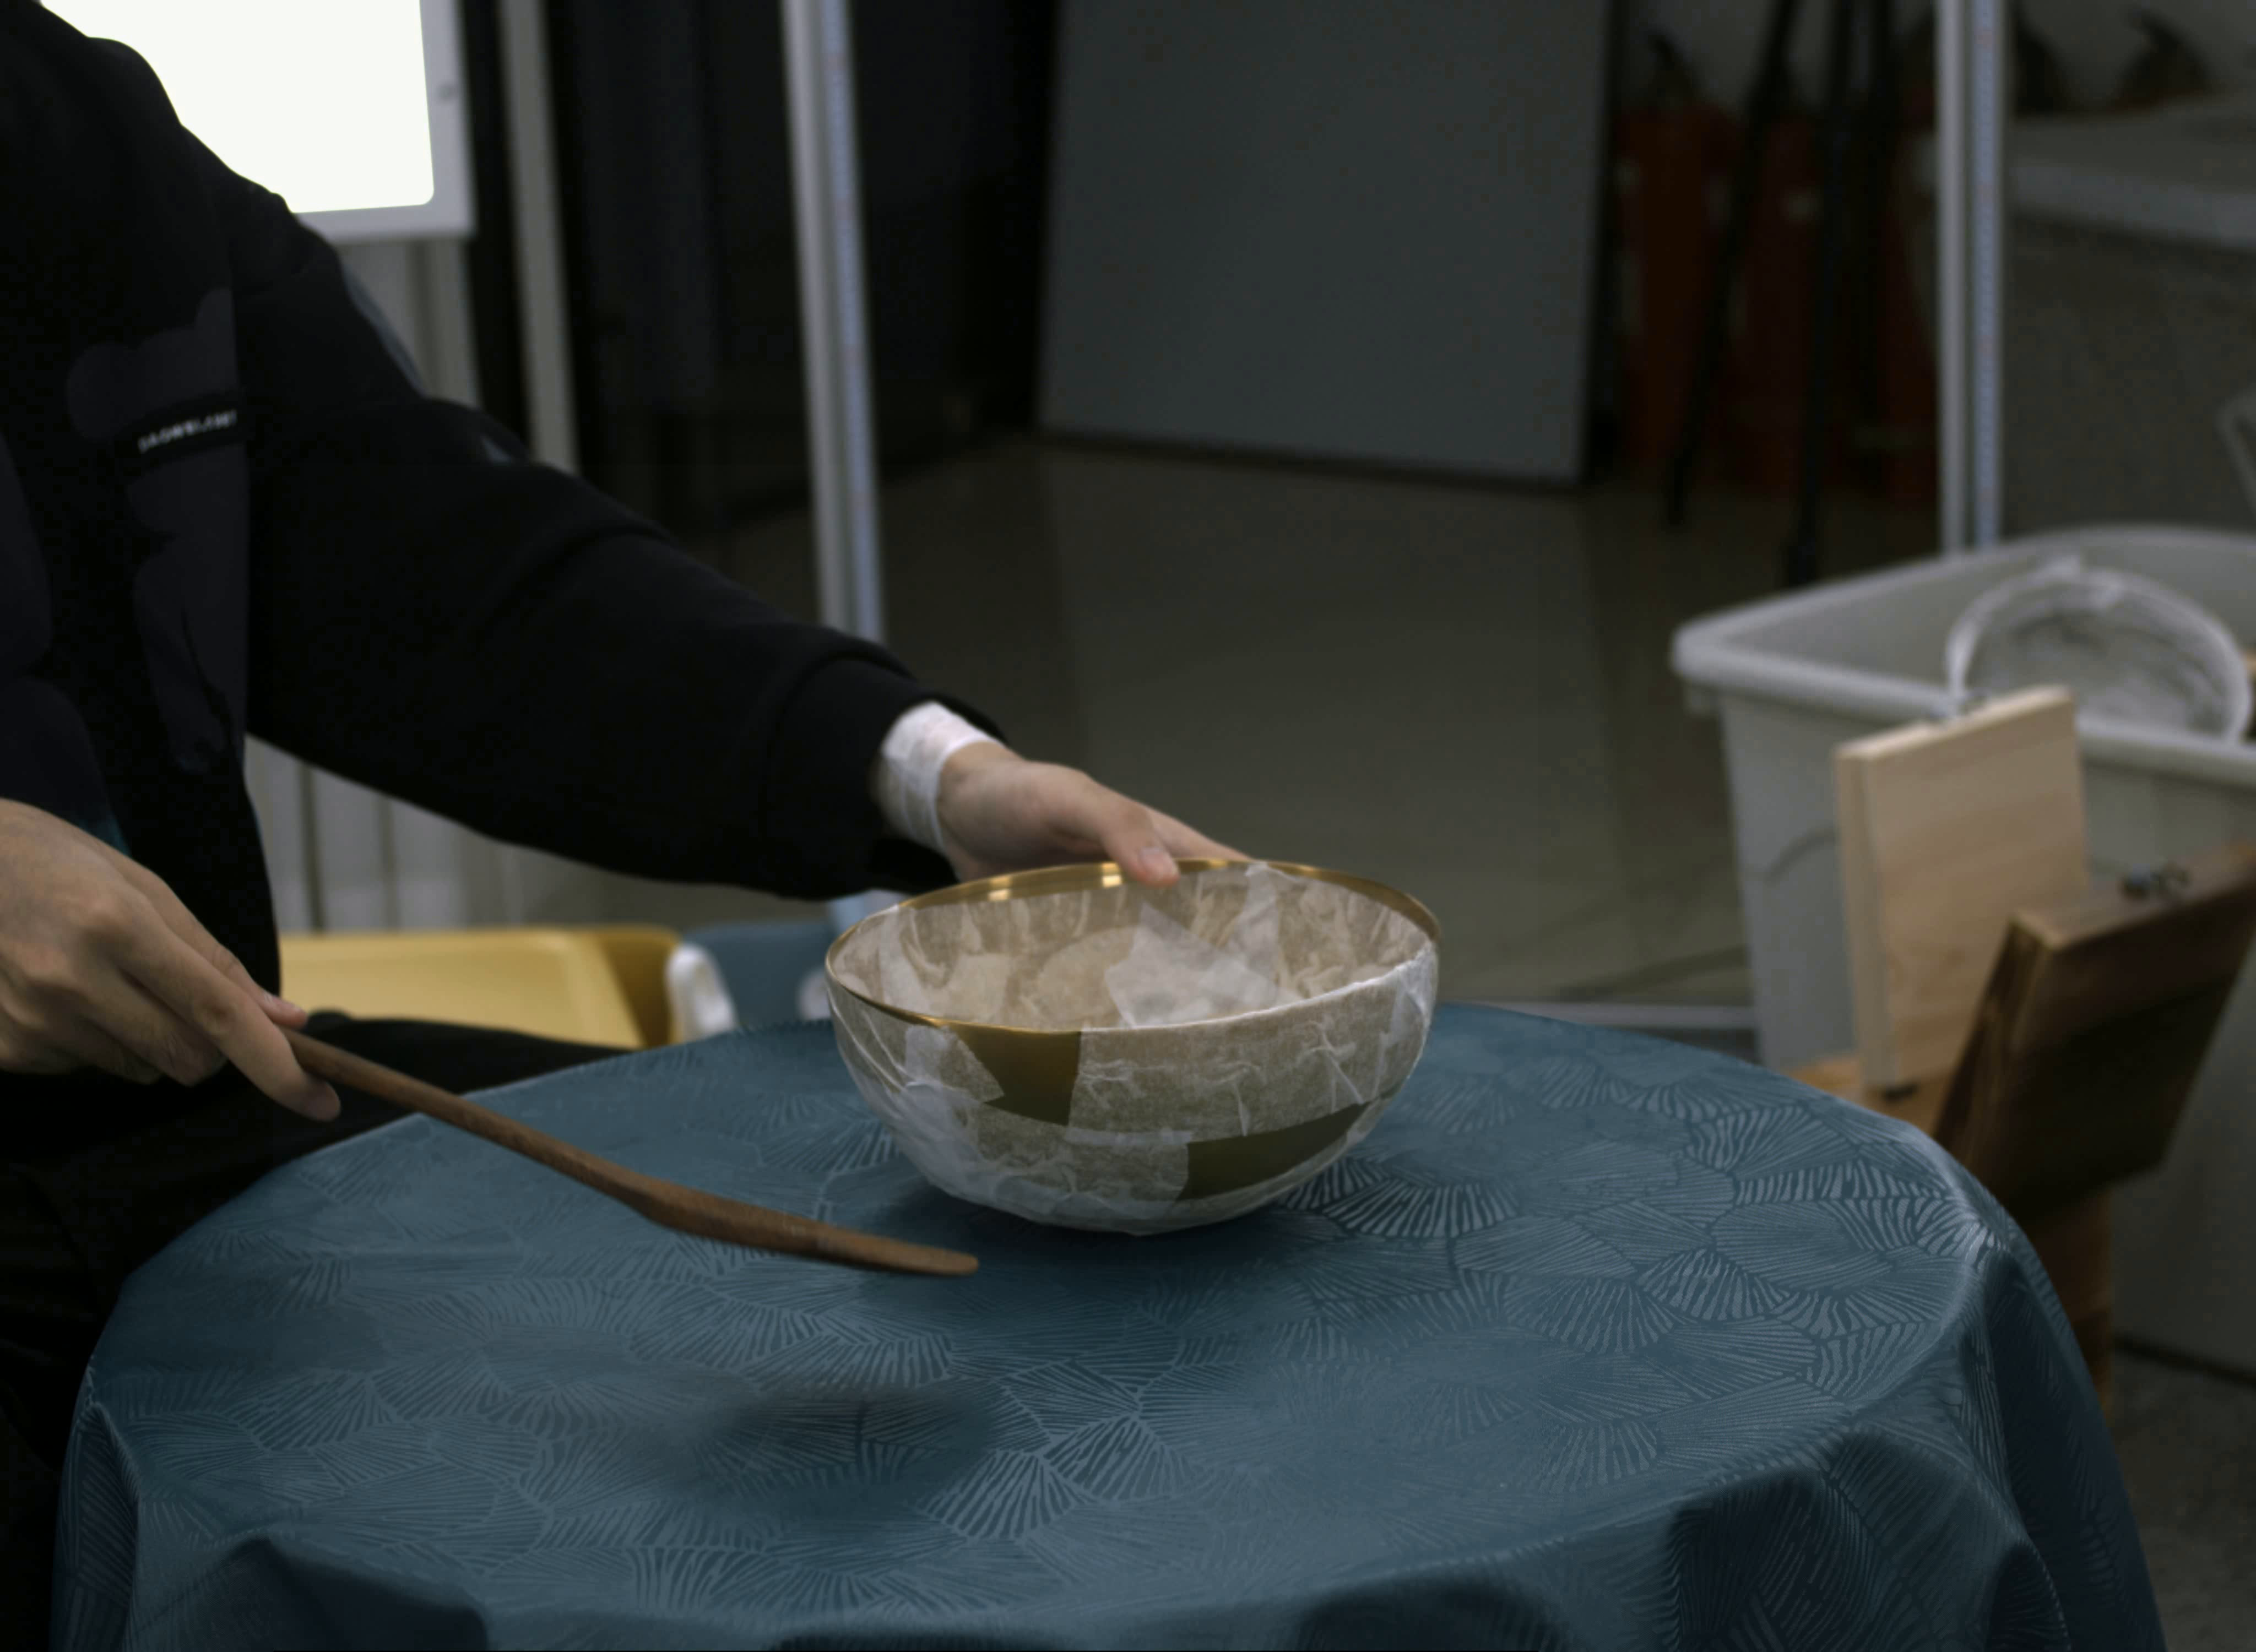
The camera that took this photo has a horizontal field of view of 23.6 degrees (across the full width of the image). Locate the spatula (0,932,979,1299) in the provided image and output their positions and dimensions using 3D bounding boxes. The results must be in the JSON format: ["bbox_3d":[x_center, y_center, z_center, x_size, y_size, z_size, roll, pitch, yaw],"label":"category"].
[{"bbox_3d":[-0.216,0.084,1.643,0.387,0.016,0.094,18,1,28],"label":"spatula"}]

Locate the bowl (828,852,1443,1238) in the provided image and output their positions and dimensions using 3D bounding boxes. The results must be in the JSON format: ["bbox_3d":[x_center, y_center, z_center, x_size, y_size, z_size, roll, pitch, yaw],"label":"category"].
[{"bbox_3d":[0.004,0.077,1.751,0.212,0.095,0.215,-6,14,1],"label":"bowl"}]
